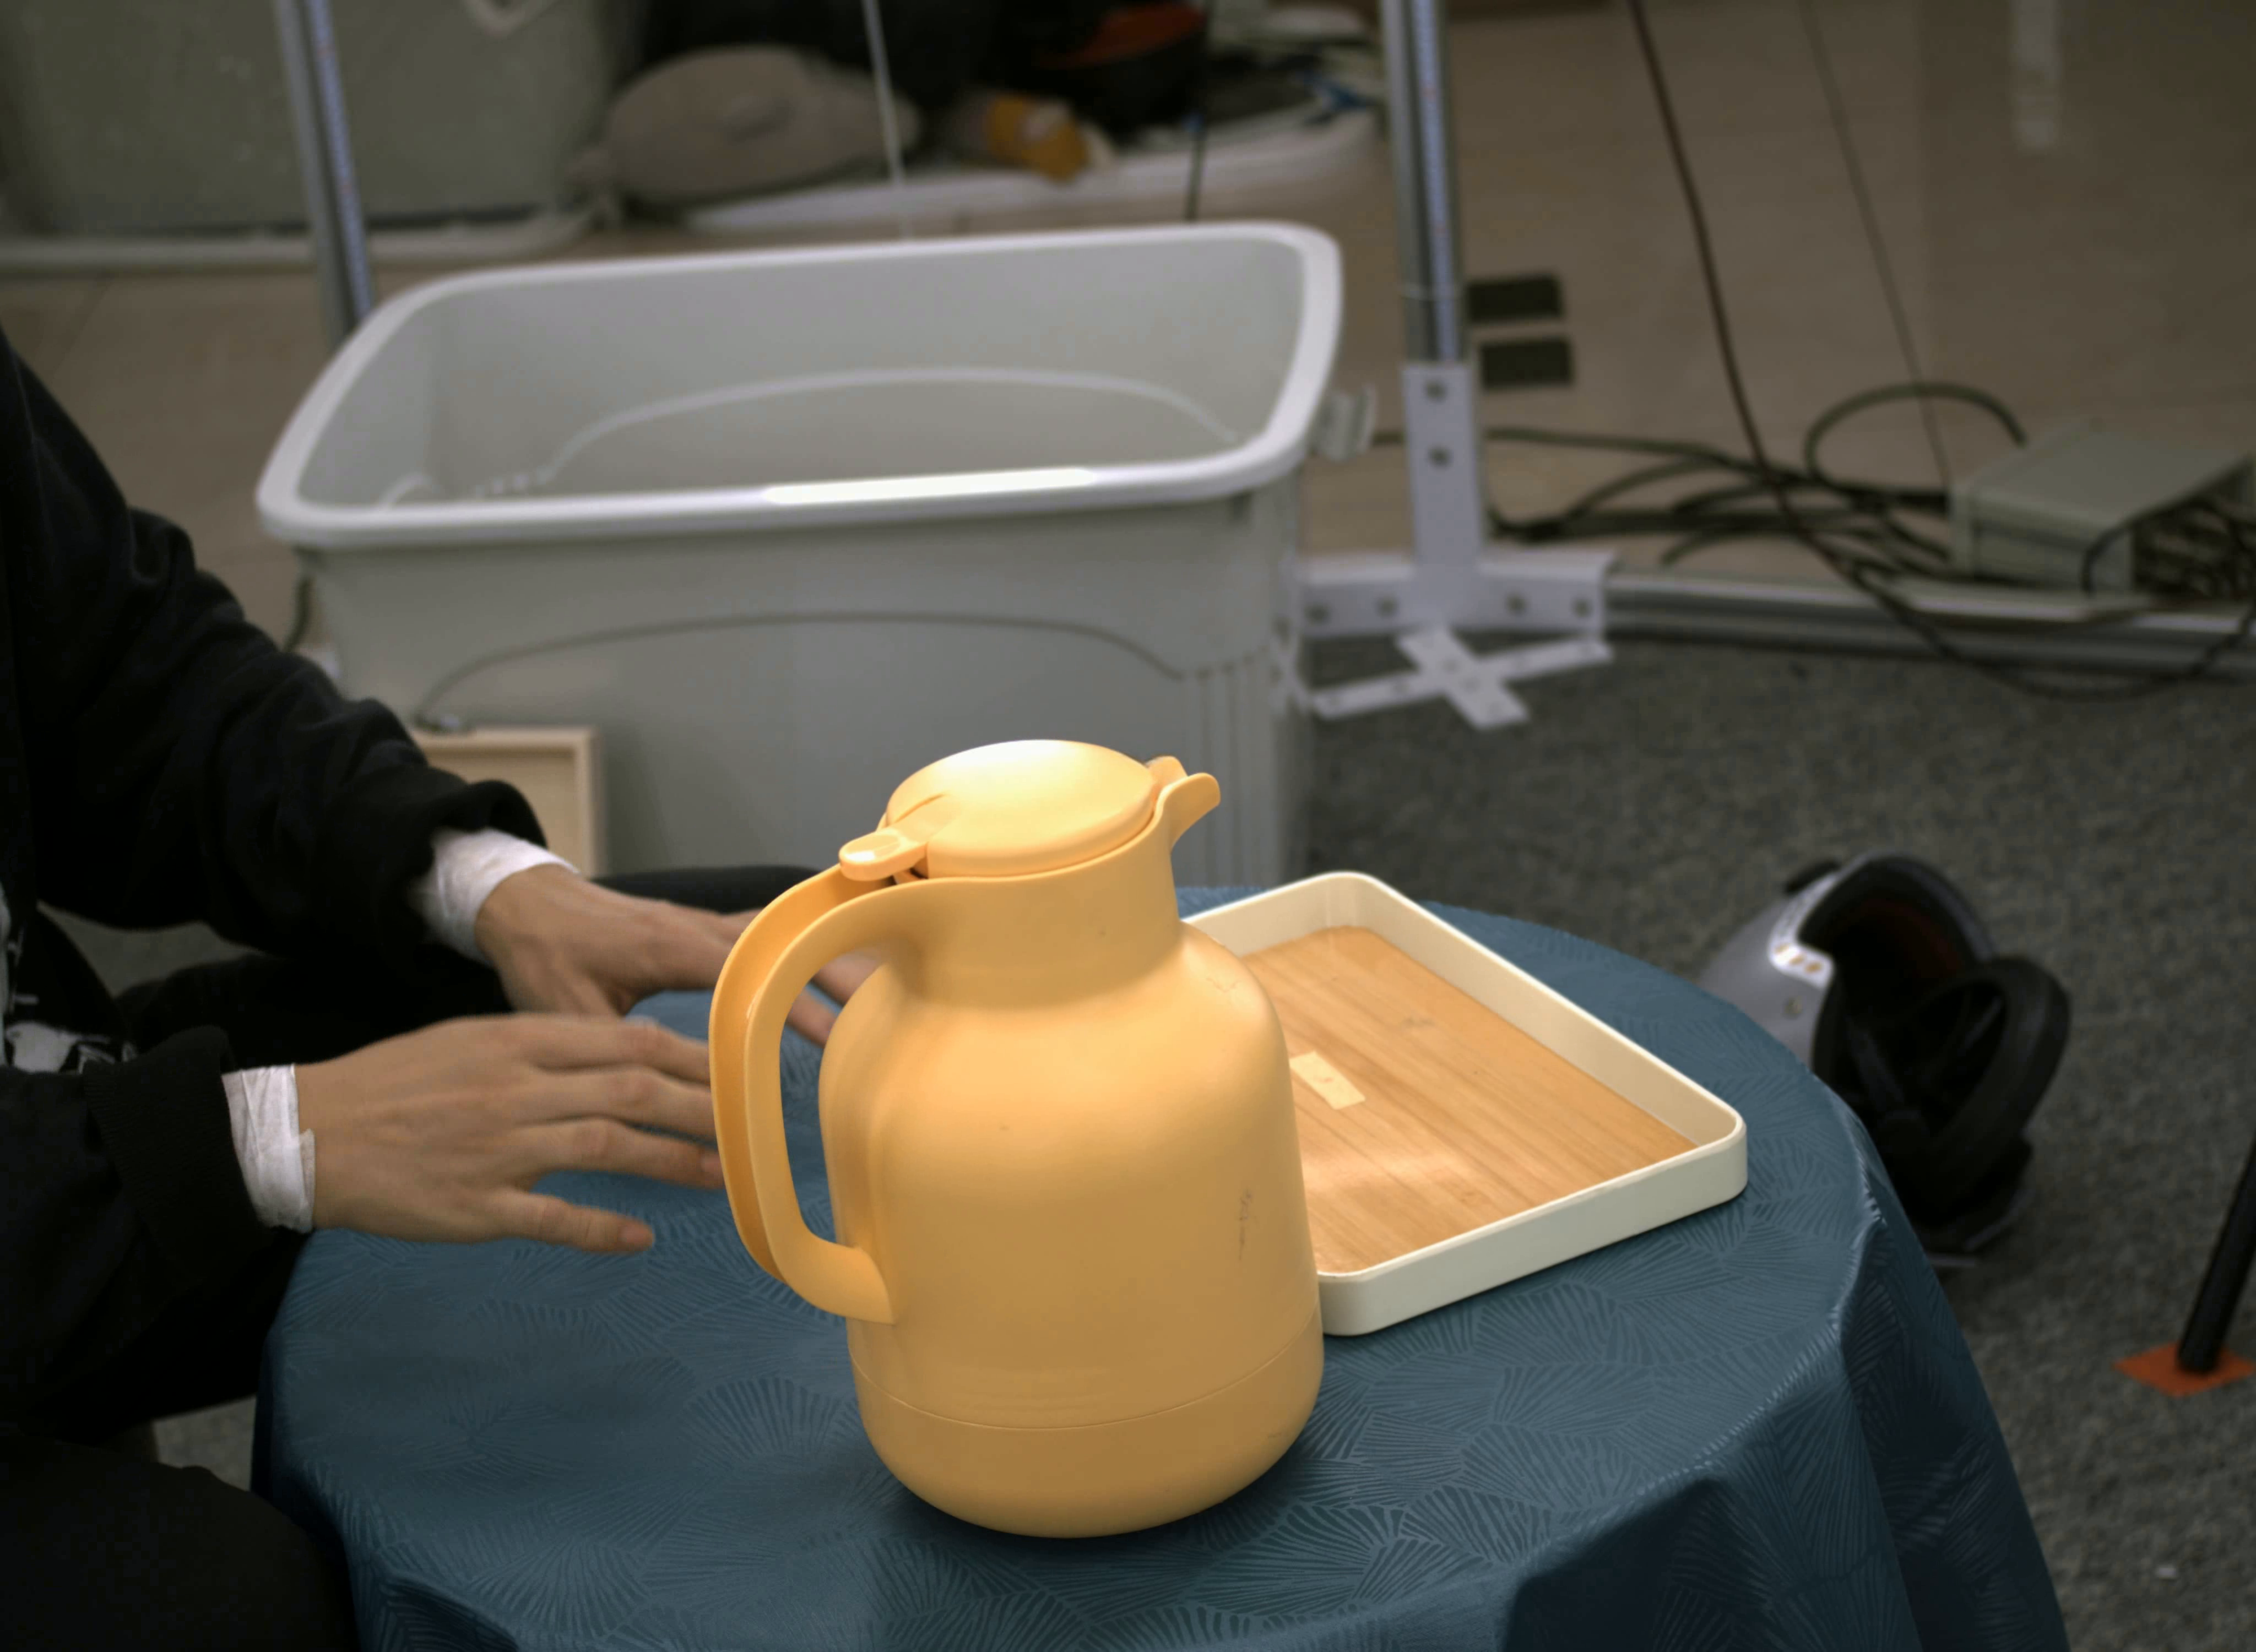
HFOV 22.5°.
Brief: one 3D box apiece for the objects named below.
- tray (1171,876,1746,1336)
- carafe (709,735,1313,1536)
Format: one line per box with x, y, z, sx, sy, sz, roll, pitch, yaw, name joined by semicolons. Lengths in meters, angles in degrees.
0.082;0.102;2.178;0.190;0.028;0.297;-18;27;-23;tray
-0.042;0.105;1.916;0.201;0.264;0.162;-17;25;-25;carafe
